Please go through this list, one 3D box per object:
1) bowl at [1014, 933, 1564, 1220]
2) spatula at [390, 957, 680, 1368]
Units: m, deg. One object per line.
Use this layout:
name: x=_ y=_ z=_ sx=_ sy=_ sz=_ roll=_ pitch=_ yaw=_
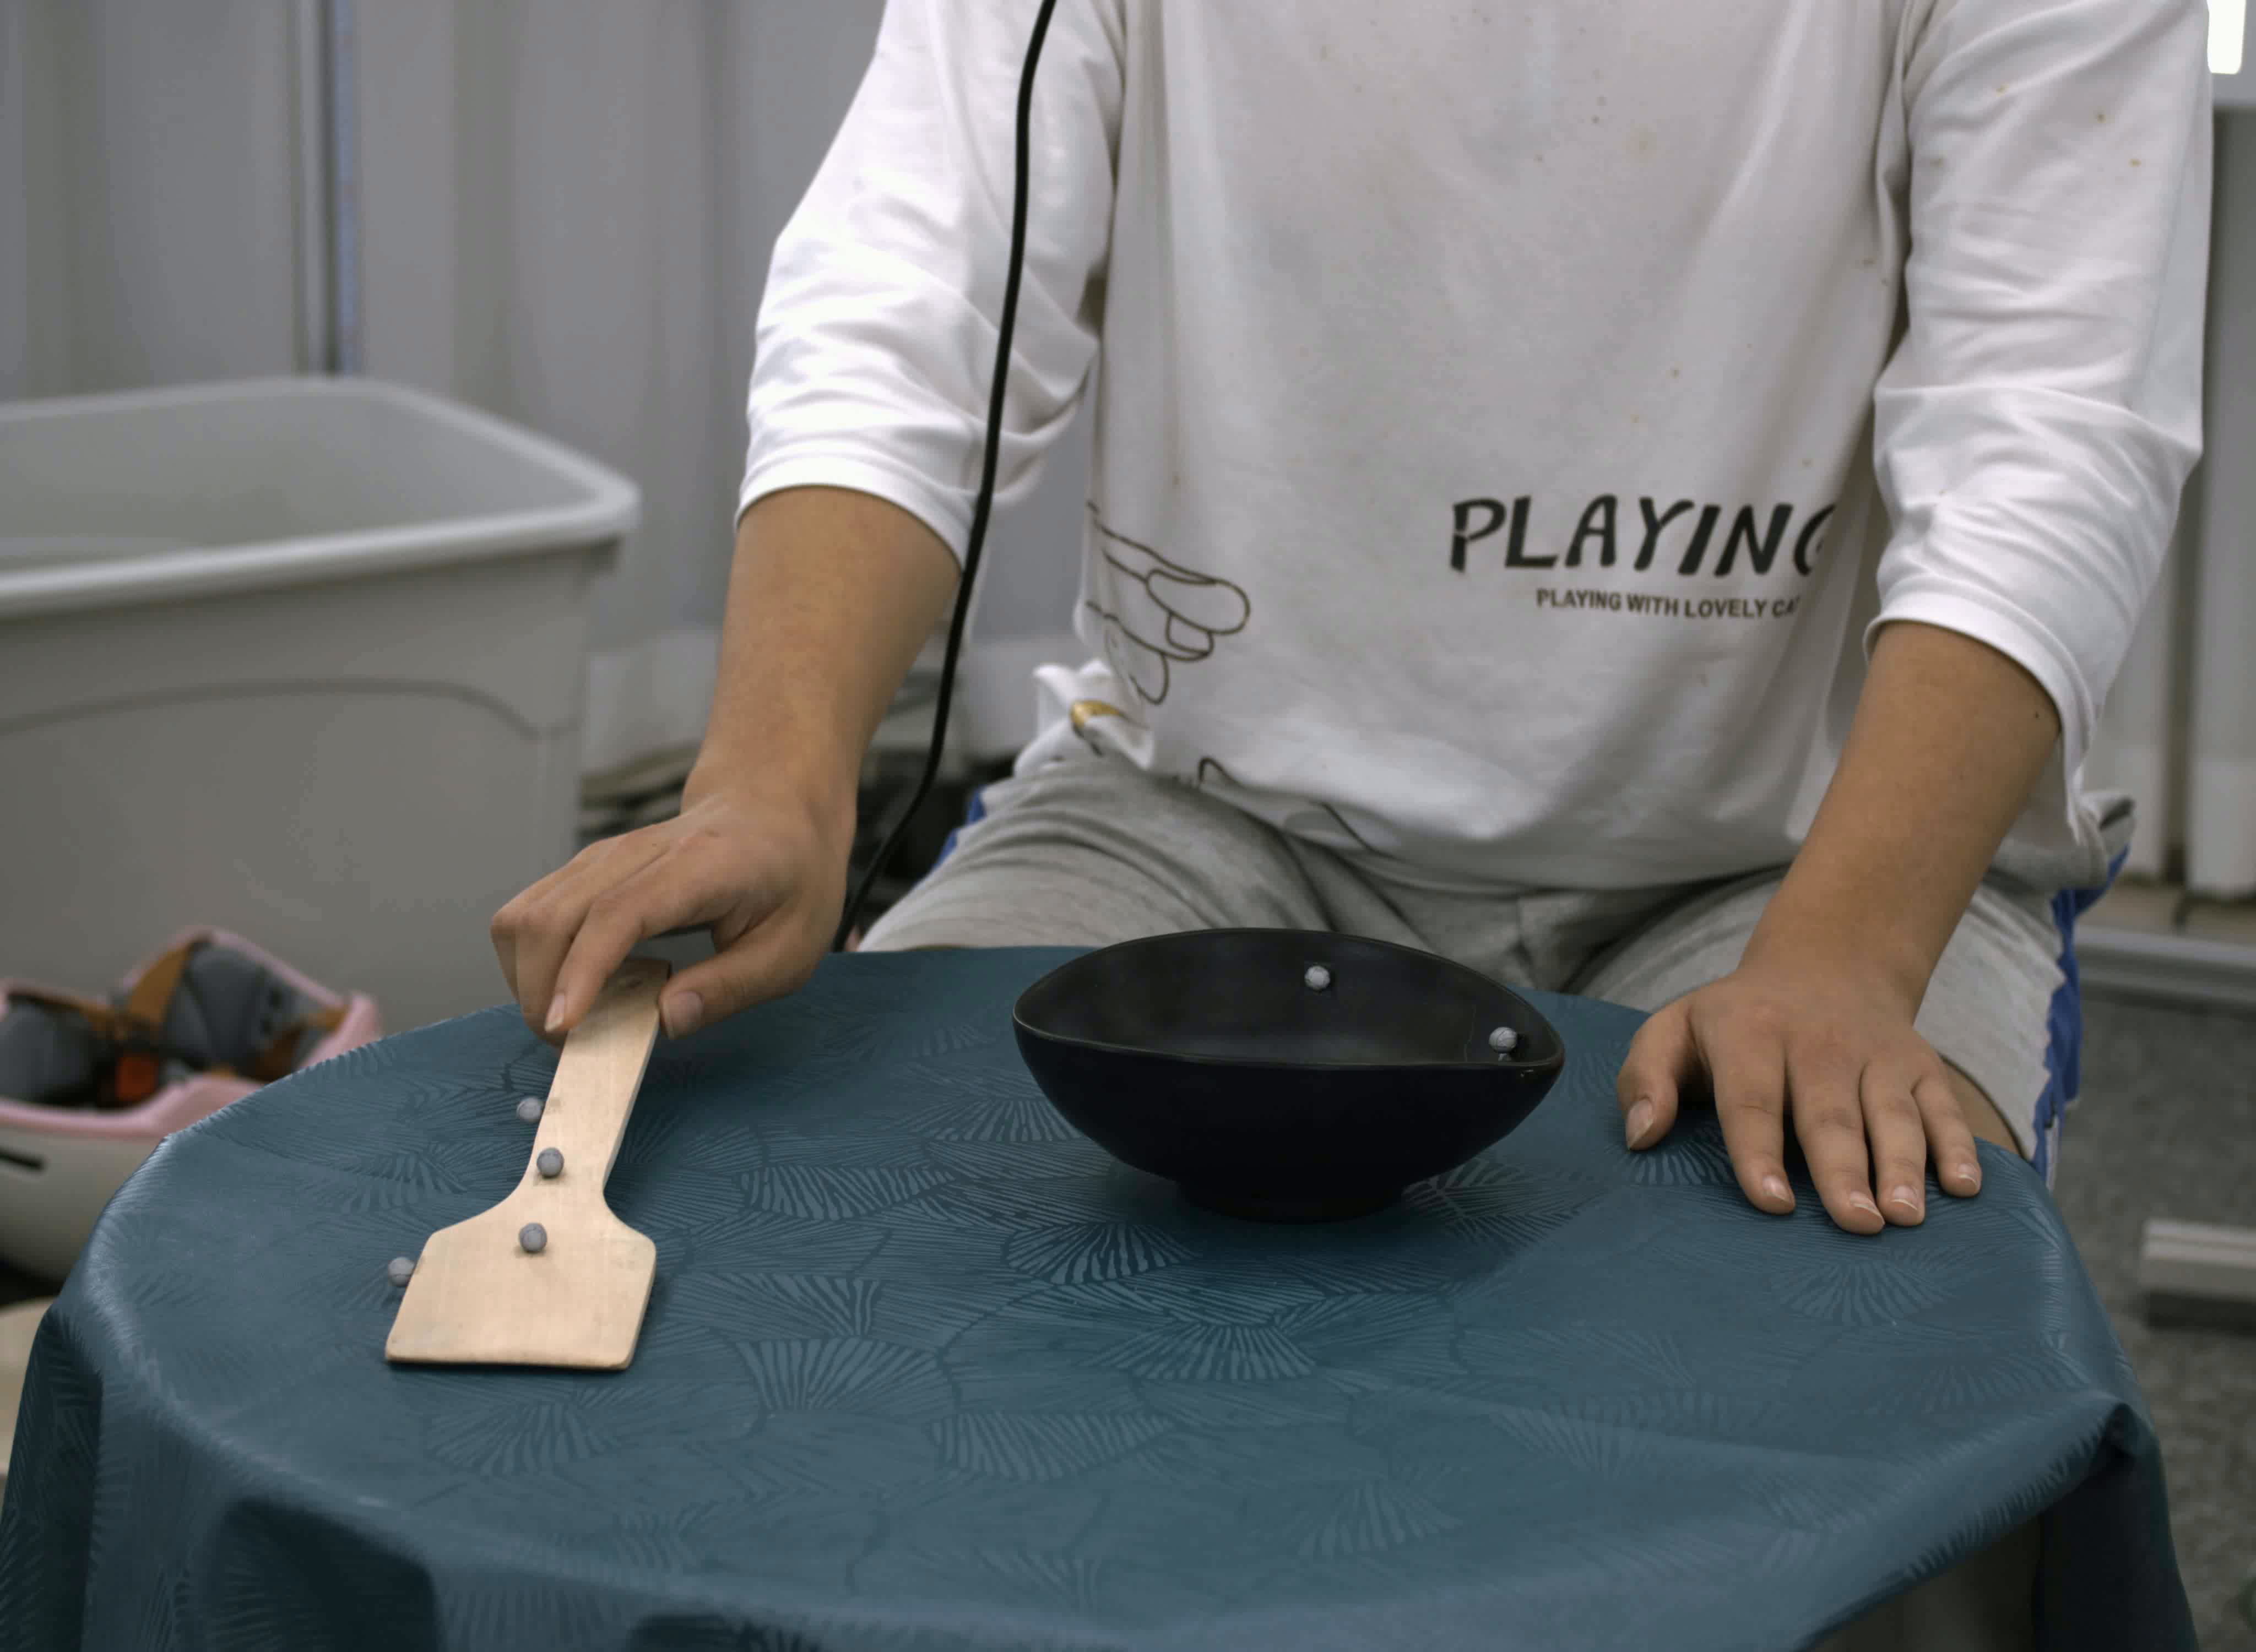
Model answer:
bowl: x=0.049 y=0.081 z=1.627 sx=0.170 sy=0.067 sz=0.136 roll=3 pitch=15 yaw=0
spatula: x=-0.168 y=0.099 z=1.609 sx=0.072 sy=0.011 sz=0.291 roll=2 pitch=22 yaw=2
